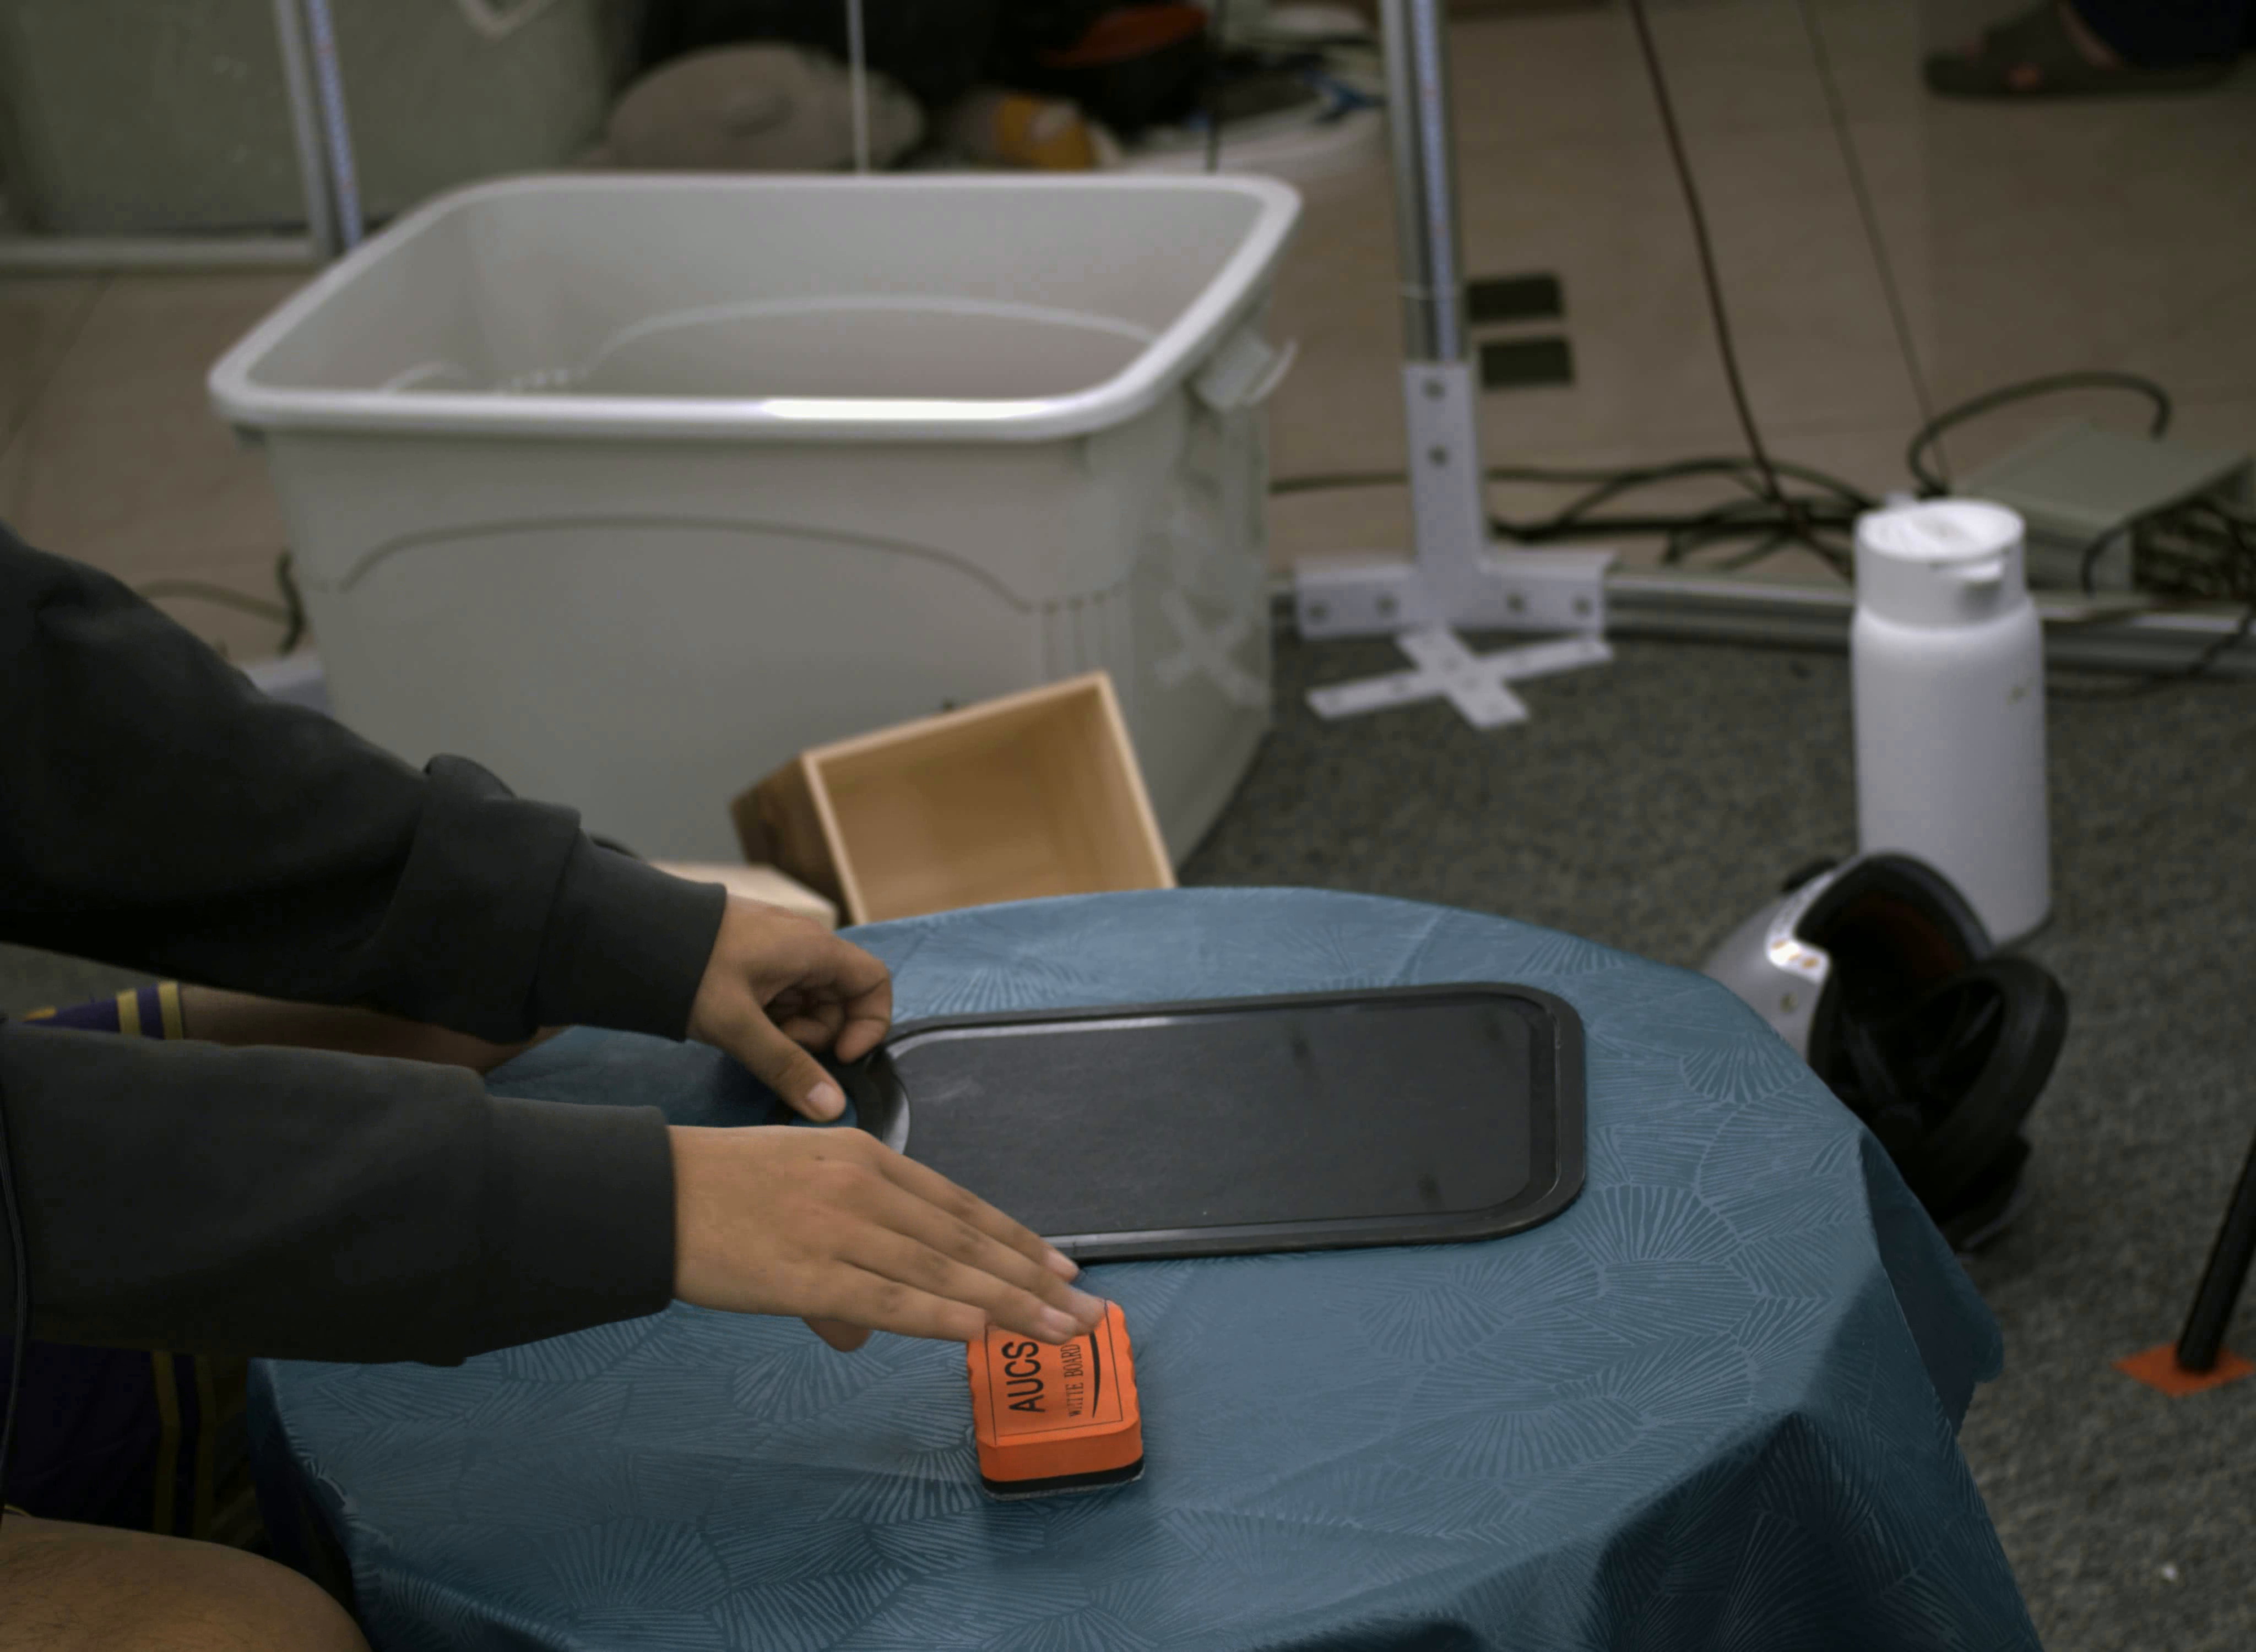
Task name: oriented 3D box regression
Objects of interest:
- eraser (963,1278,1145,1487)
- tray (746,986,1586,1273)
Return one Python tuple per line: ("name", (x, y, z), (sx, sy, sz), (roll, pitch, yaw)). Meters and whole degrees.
("eraser", (-0.027, 0.195, 1.998), (0.059, 0.023, 0.106), (-6, 23, -2))
("tray", (0.014, 0.115, 2.188), (0.325, 0.010, 0.208), (-4, 25, 7))
